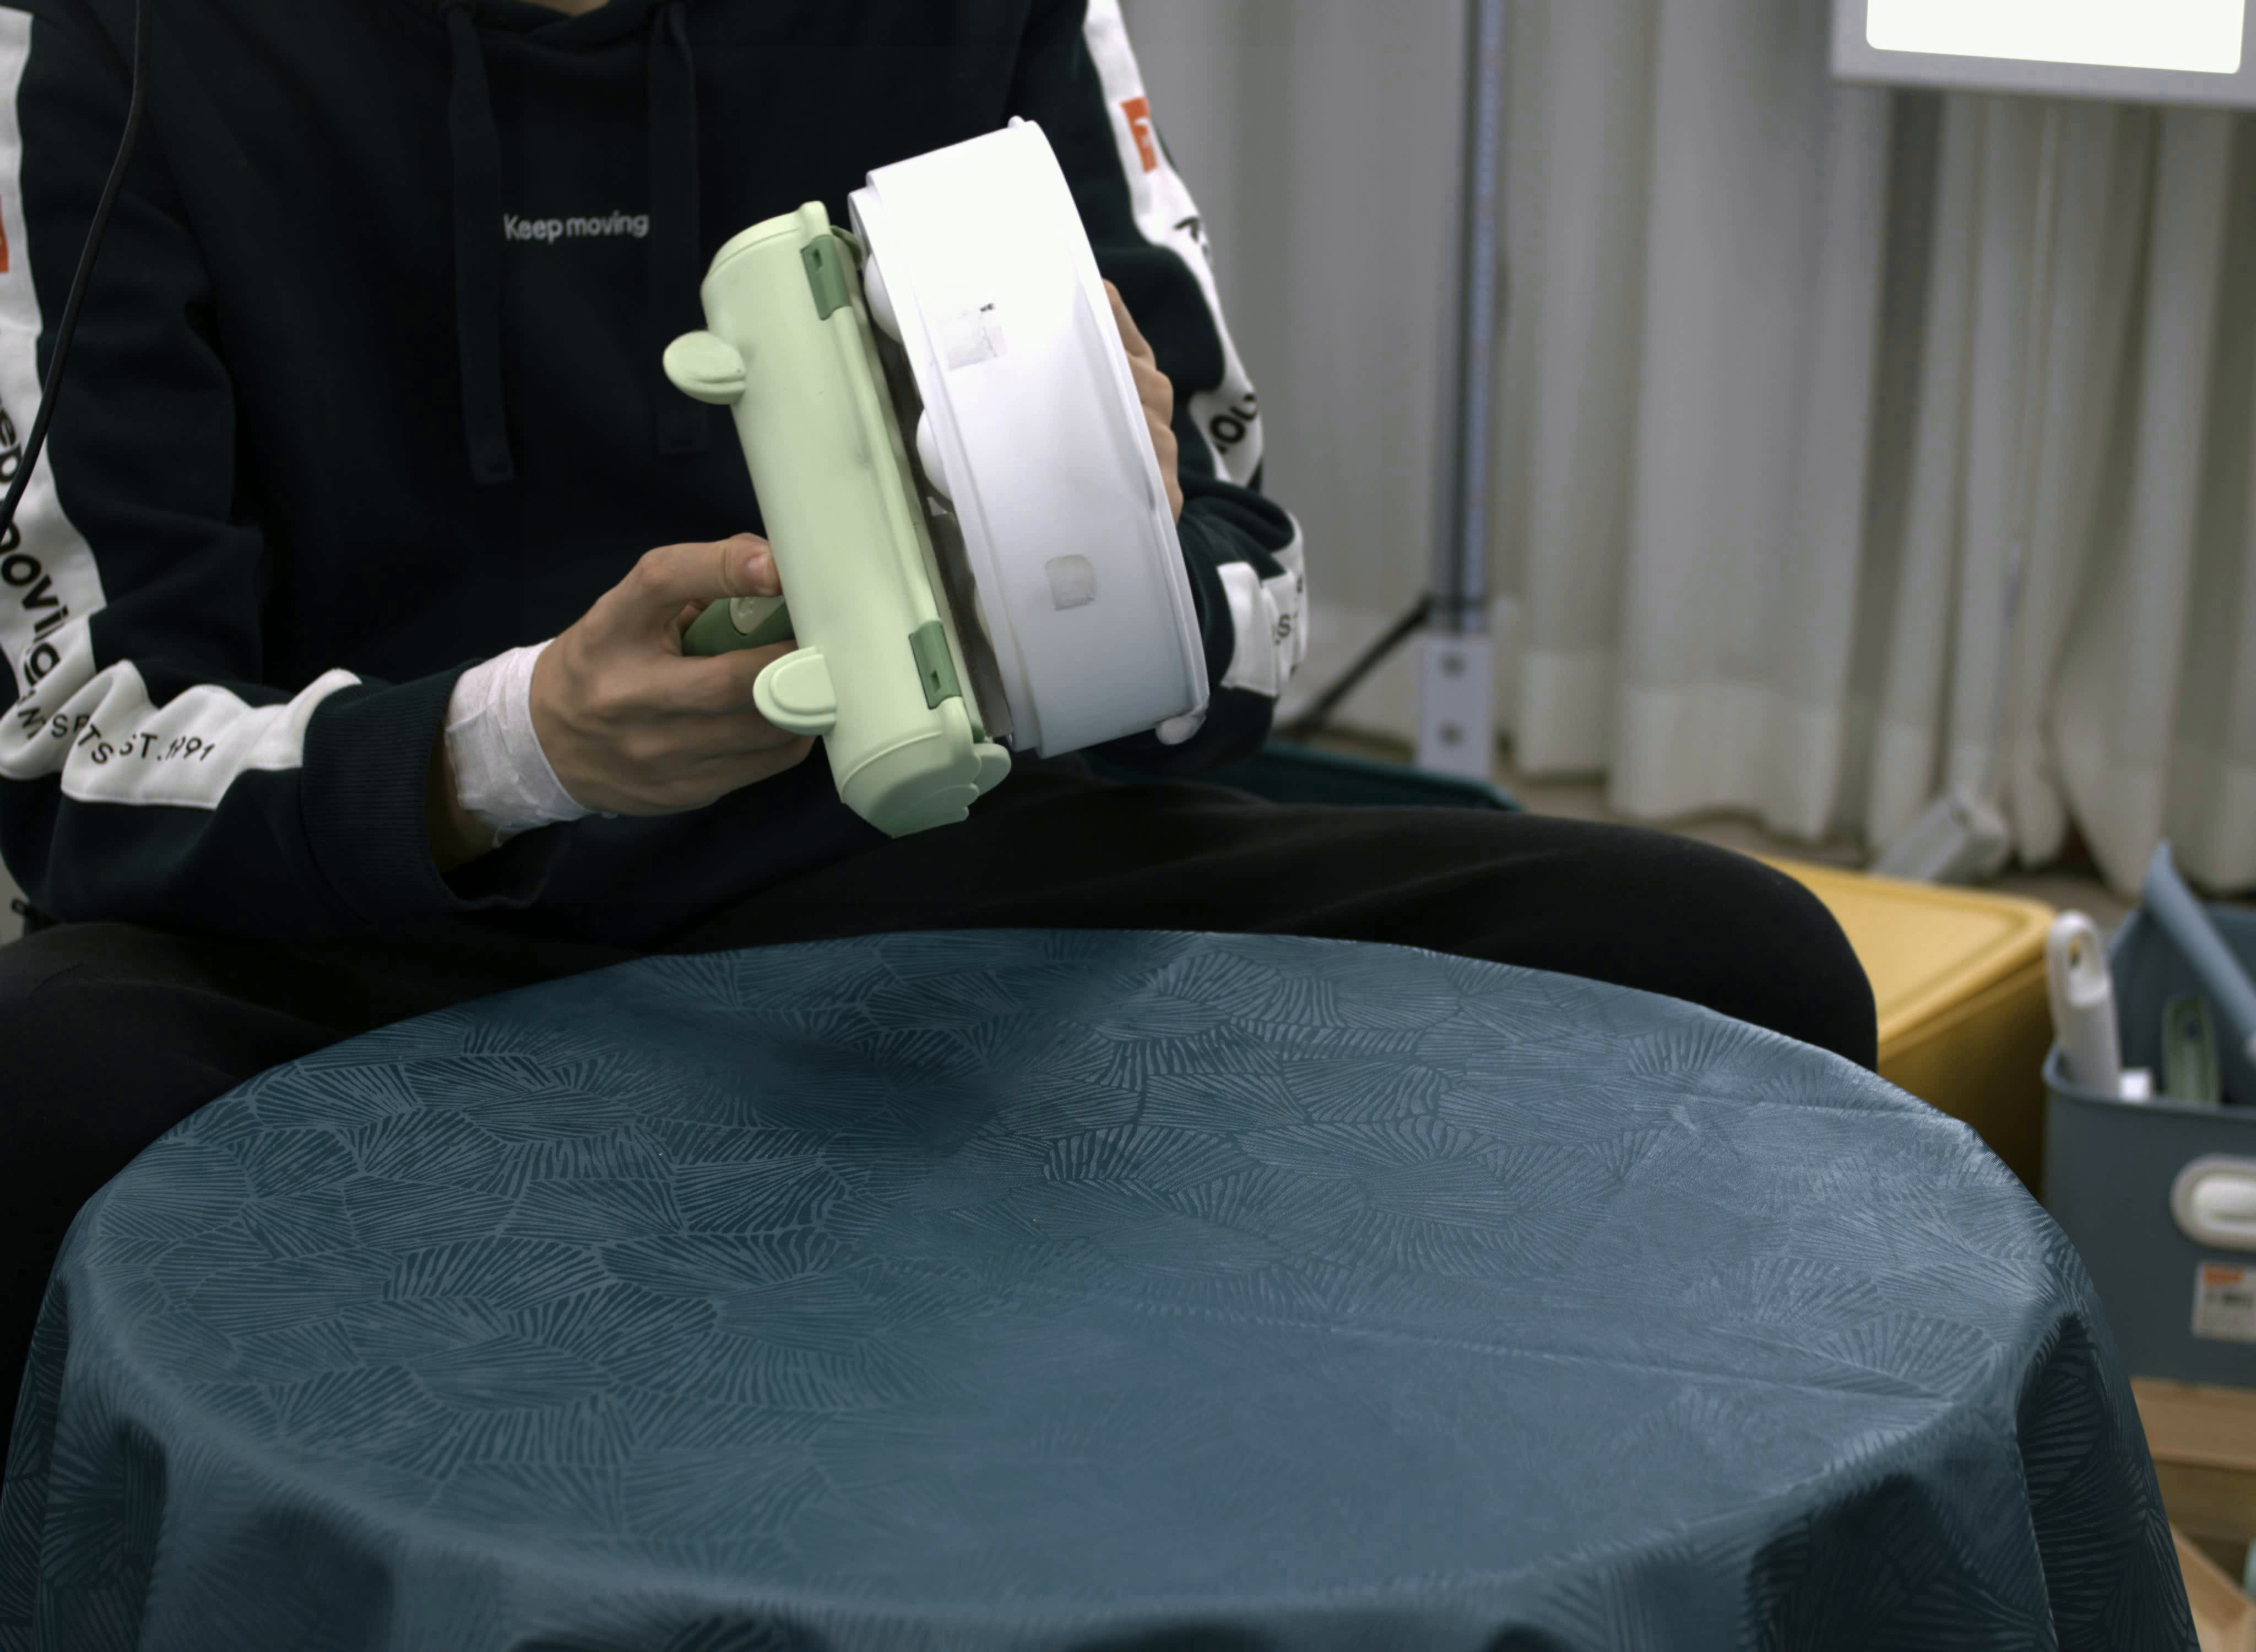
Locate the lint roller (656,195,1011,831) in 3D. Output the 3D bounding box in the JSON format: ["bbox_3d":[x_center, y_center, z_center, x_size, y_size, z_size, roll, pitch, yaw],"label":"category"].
[{"bbox_3d":[-0.122,-0.072,1.661,0.083,0.197,0.183,-2,-24,-39],"label":"lint roller"}]

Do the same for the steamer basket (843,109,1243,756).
[{"bbox_3d":[-0.029,-0.120,1.658,0.069,0.202,0.230,-21,0,2],"label":"steamer basket"}]
